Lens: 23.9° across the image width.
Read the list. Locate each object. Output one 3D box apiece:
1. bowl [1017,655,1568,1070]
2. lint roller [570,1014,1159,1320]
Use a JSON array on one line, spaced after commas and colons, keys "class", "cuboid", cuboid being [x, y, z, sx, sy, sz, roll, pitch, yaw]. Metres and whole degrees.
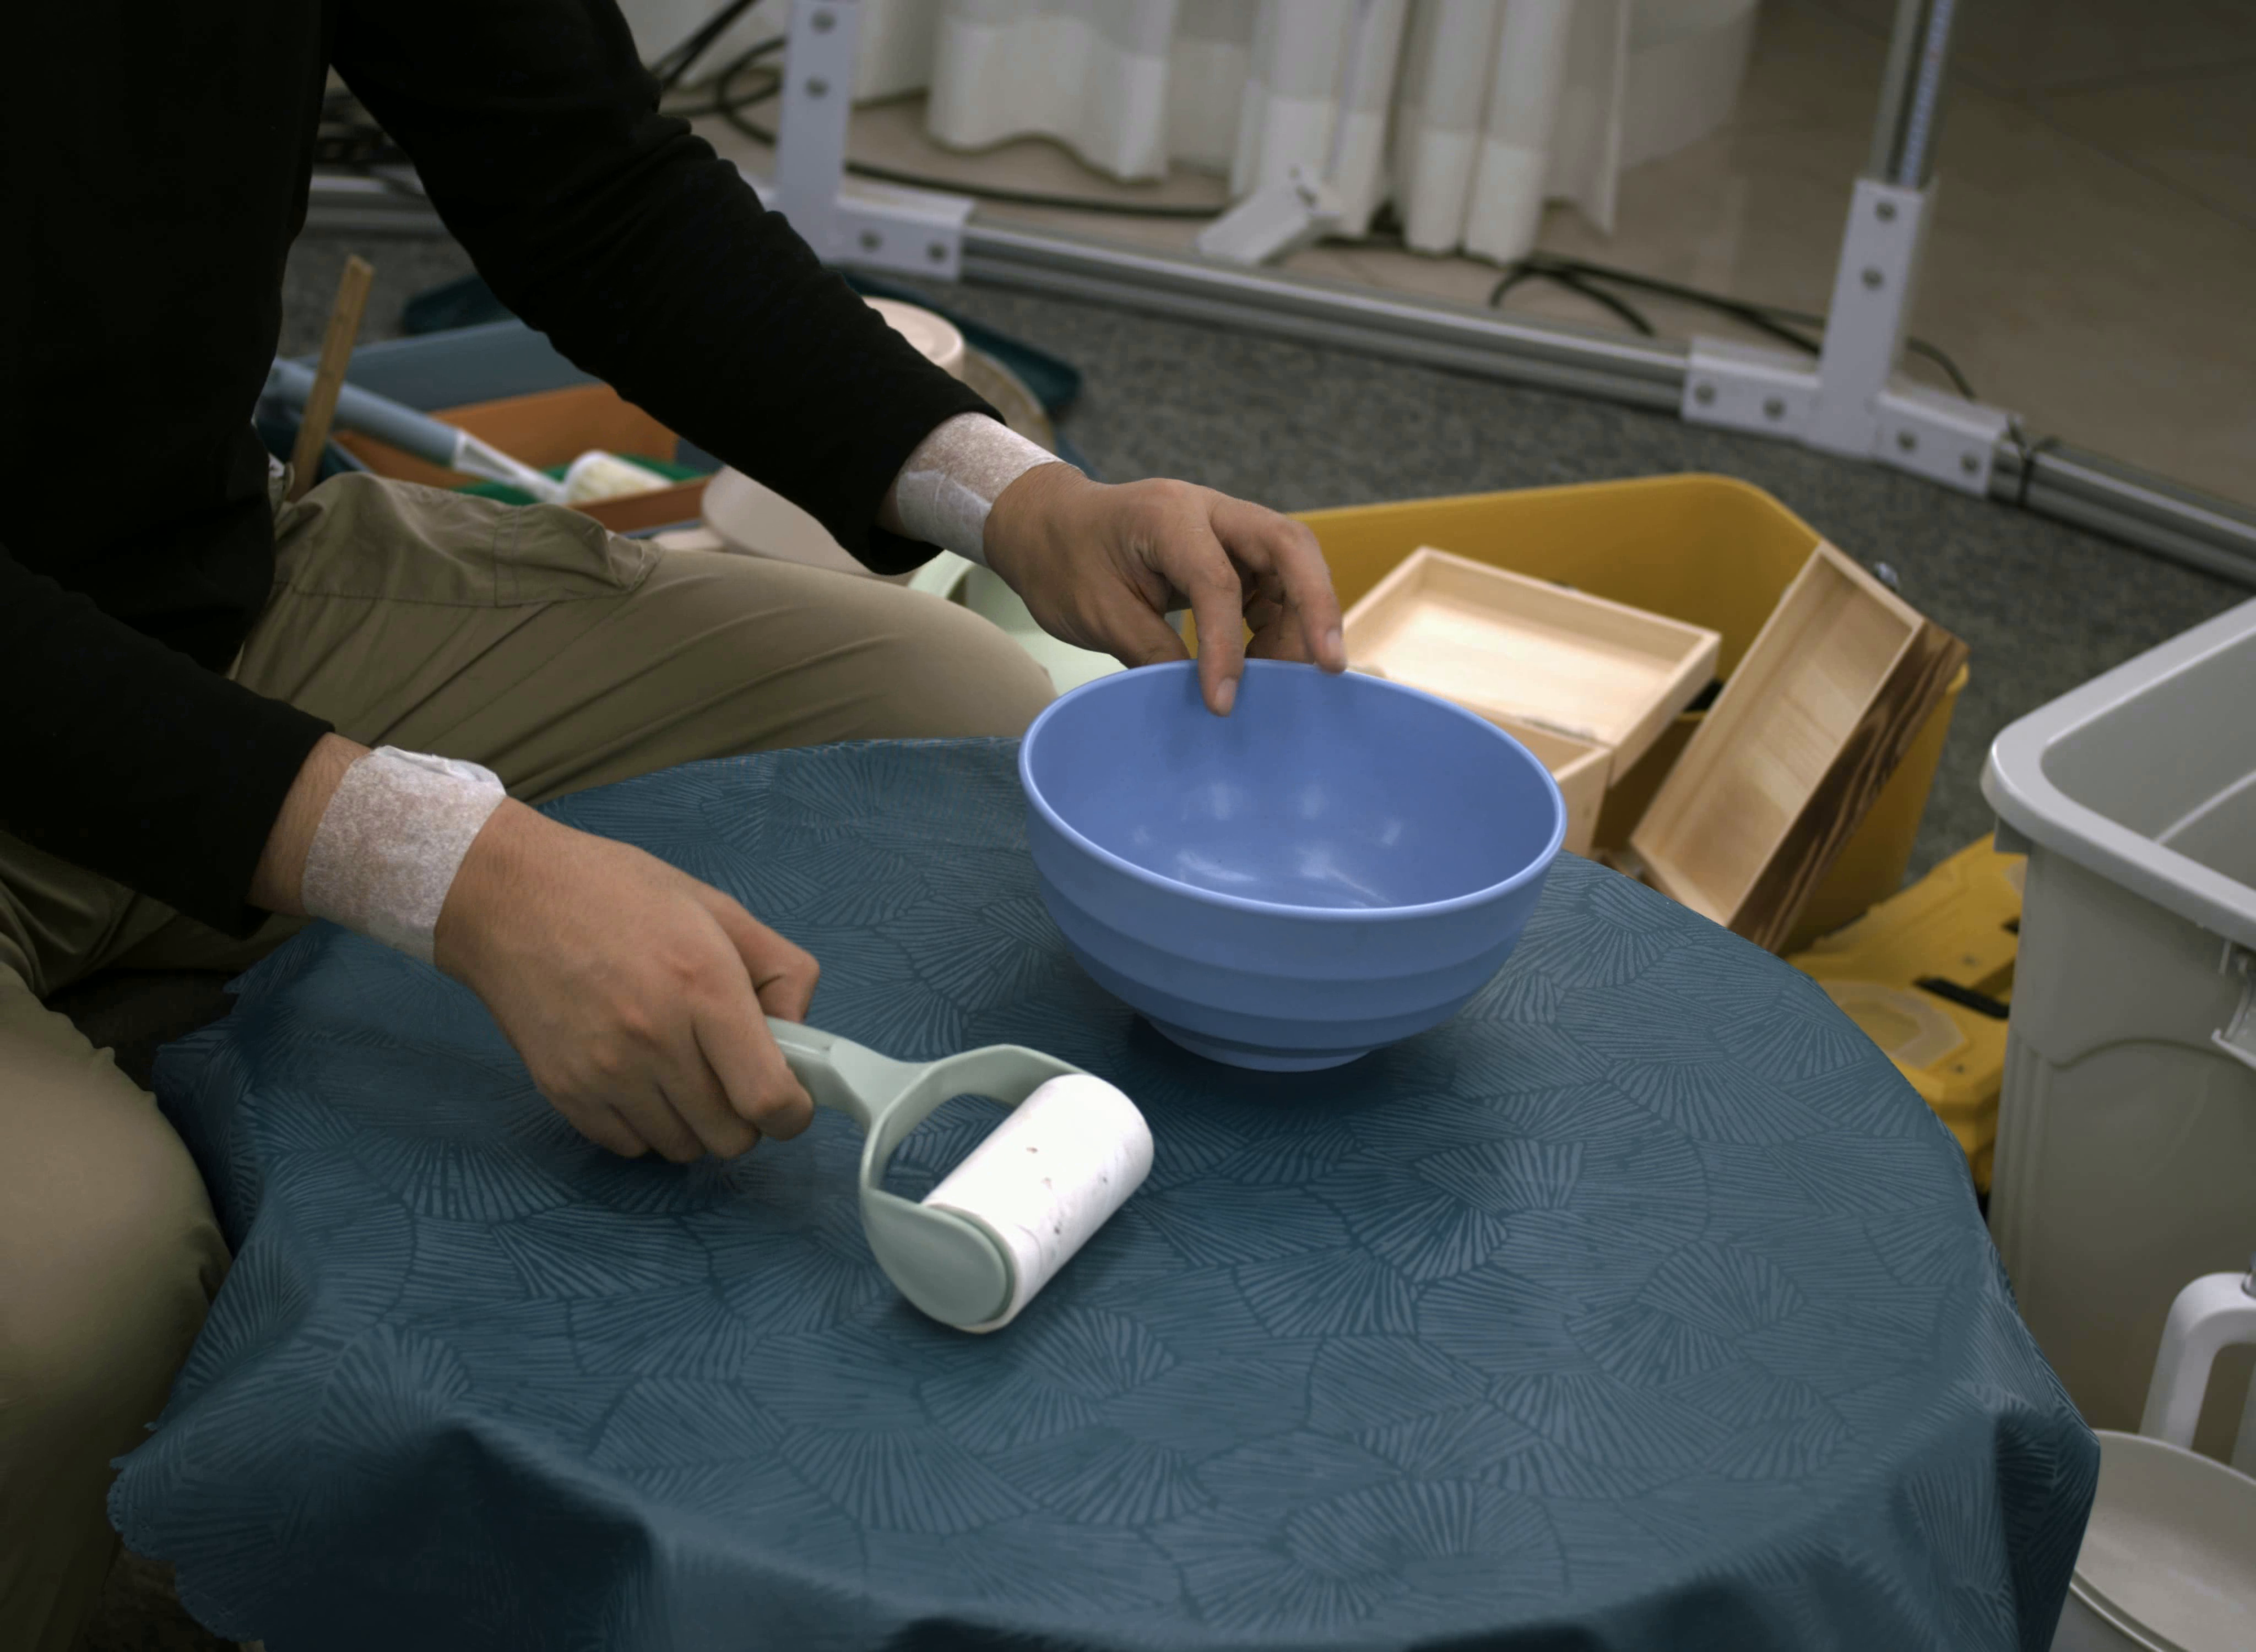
[{"class": "bowl", "cuboid": [0.054, 0.024, 1.904, 0.196, 0.095, 0.198, 4, 28, -3]}, {"class": "lint roller", "cuboid": [-0.095, 0.093, 1.772, 0.198, 0.048, 0.116, 22, 32, 17]}]
